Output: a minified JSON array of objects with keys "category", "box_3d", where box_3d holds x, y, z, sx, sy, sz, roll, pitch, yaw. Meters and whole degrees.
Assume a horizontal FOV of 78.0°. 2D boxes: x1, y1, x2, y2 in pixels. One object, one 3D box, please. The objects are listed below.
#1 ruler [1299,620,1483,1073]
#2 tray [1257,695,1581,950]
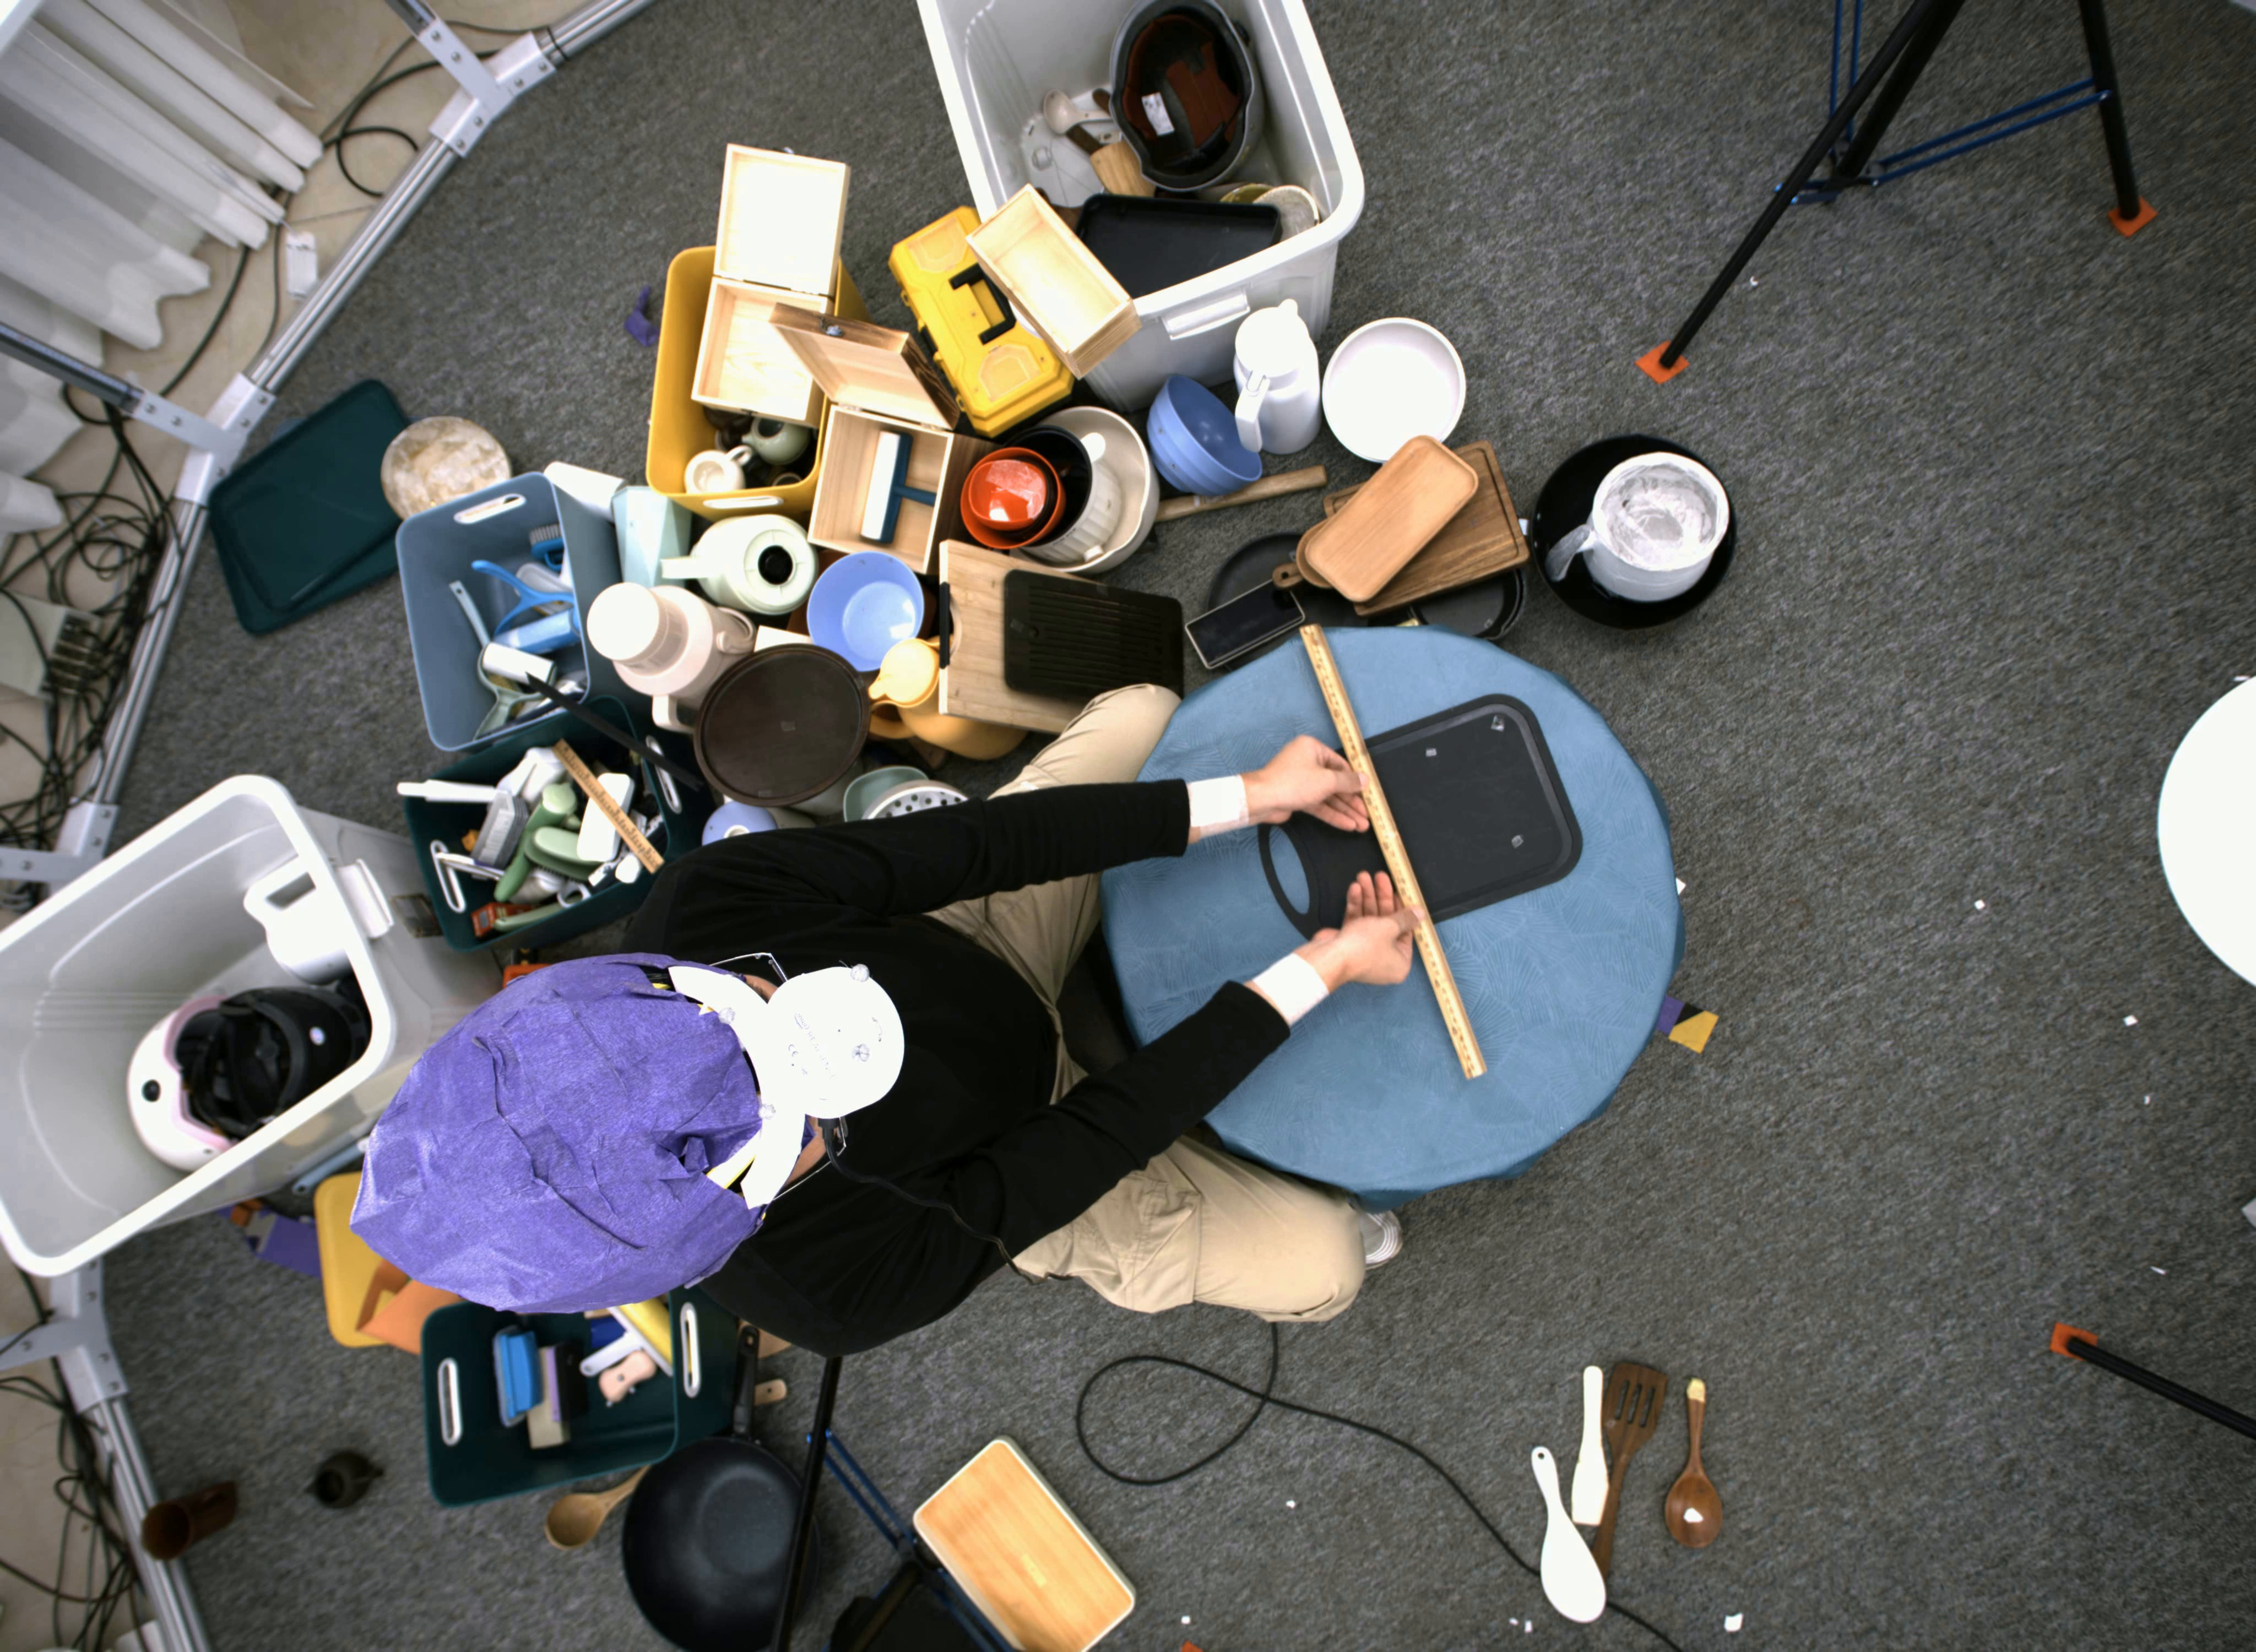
[{"category":"ruler","box_3d":[0.271,0.014,1.432,0.026,0.006,0.497,-16,81,-22]},{"category":"tray","box_3d":[0.299,-0.002,1.455,0.327,0.010,0.210,-19,83,9]}]
